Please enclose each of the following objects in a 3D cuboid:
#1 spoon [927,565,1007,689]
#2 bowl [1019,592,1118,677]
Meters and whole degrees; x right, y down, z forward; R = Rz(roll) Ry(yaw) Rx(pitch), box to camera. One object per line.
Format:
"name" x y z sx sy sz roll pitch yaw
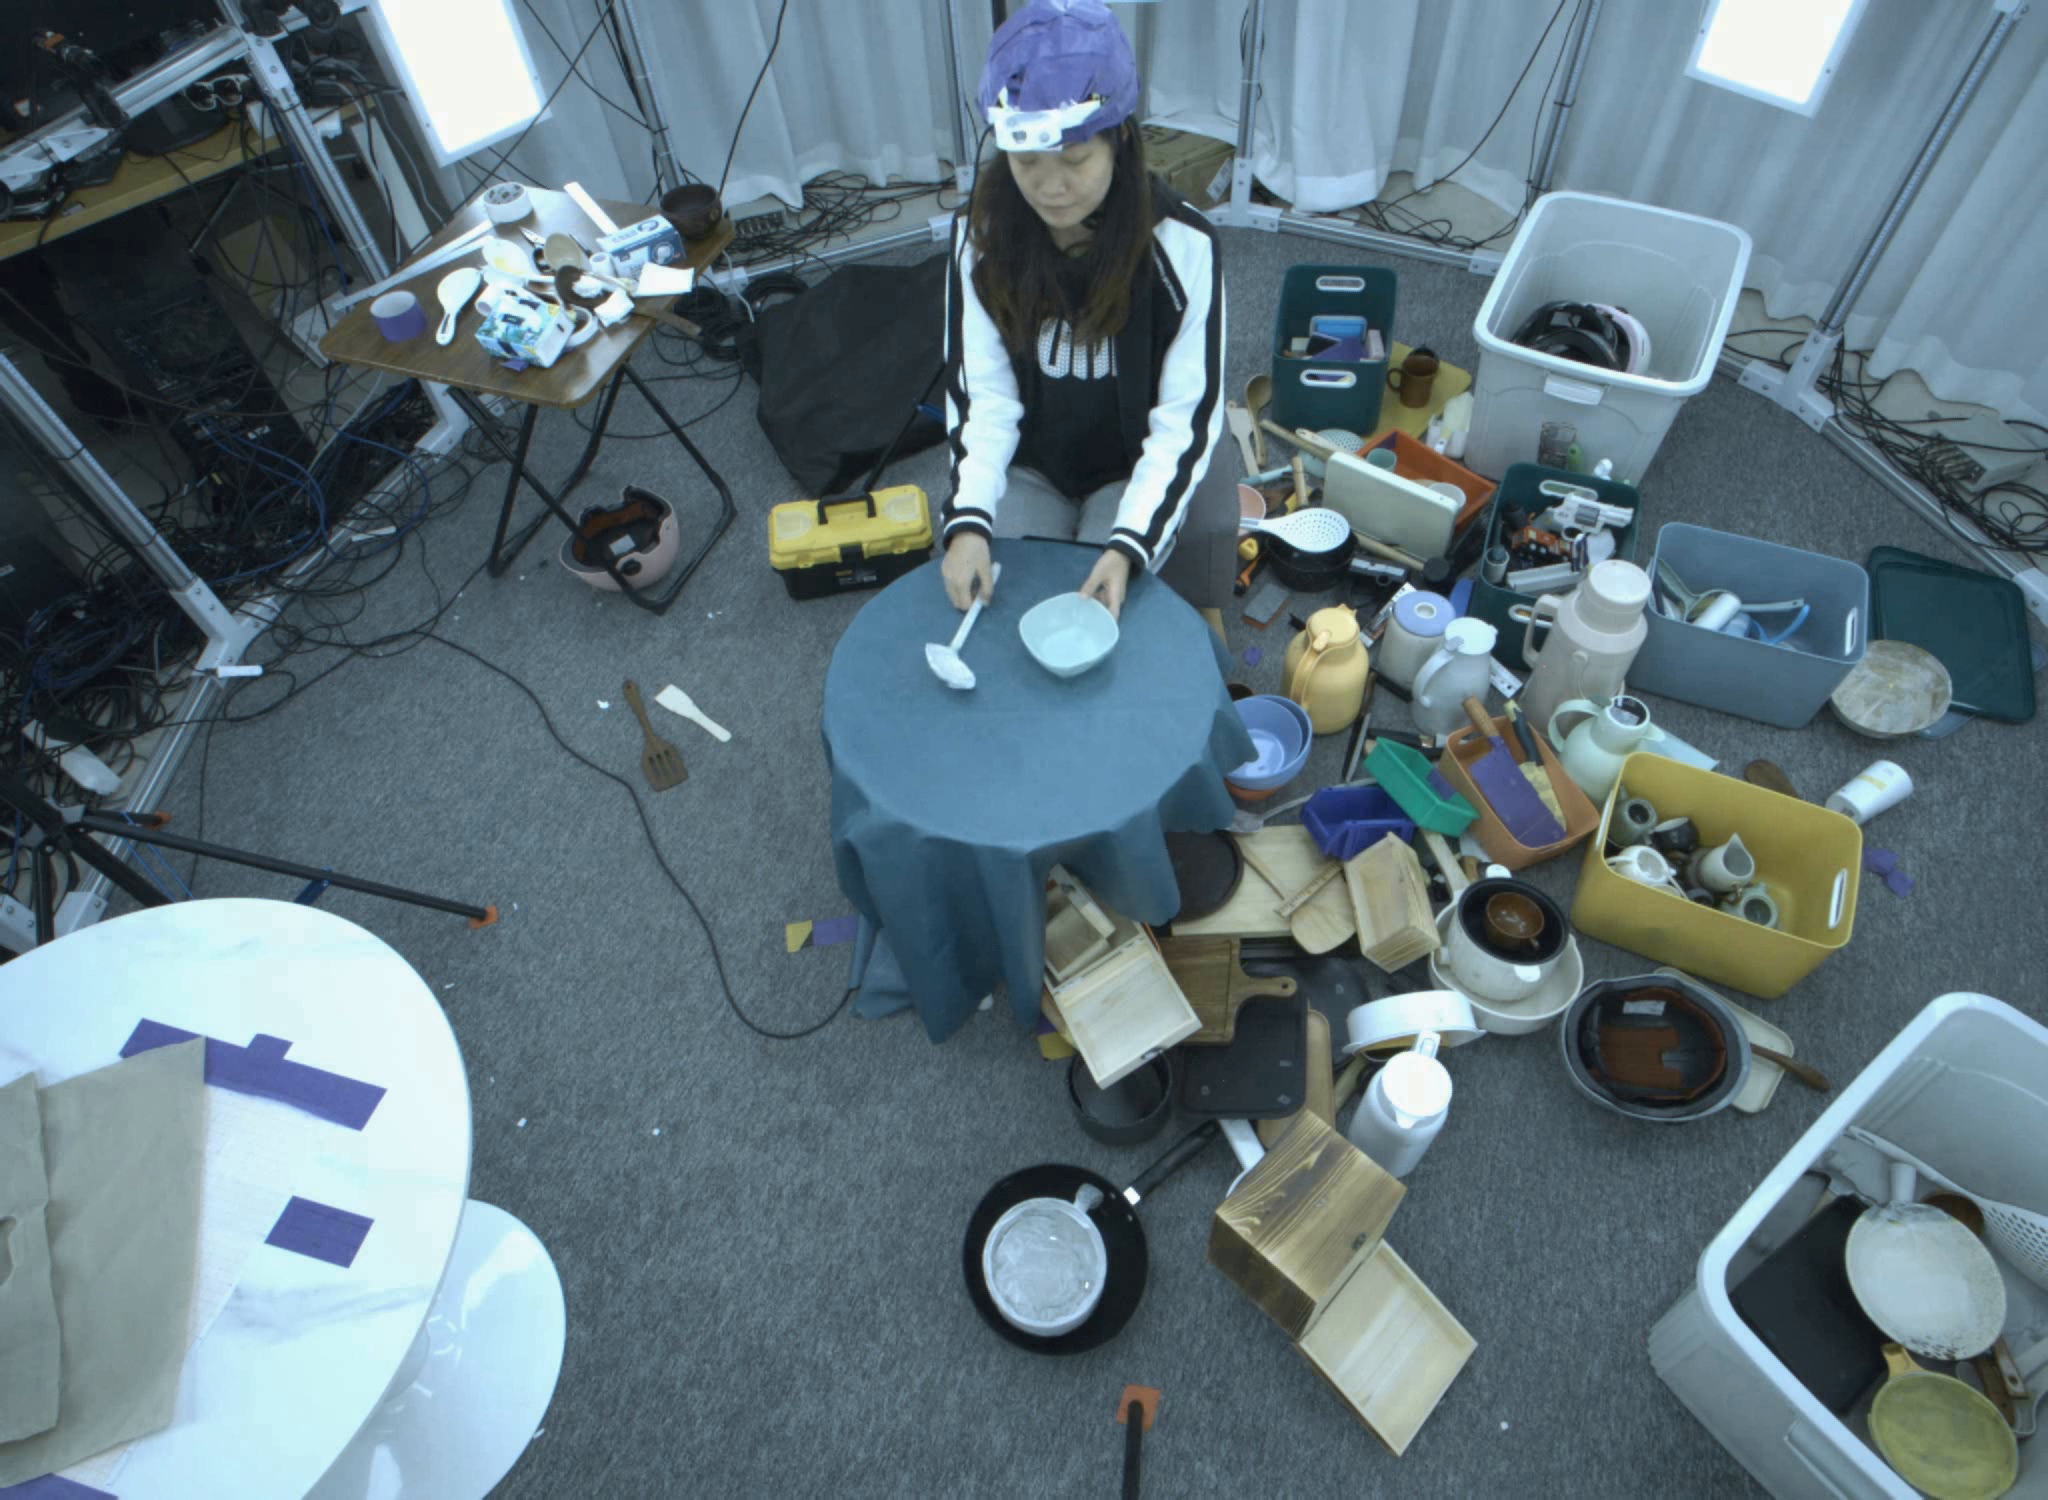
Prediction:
"spoon" -0.069 -0.199 1.893 0.102 0.058 0.277 42 55 -20
"bowl" 0.068 -0.166 1.870 0.151 0.059 0.150 0 55 2
